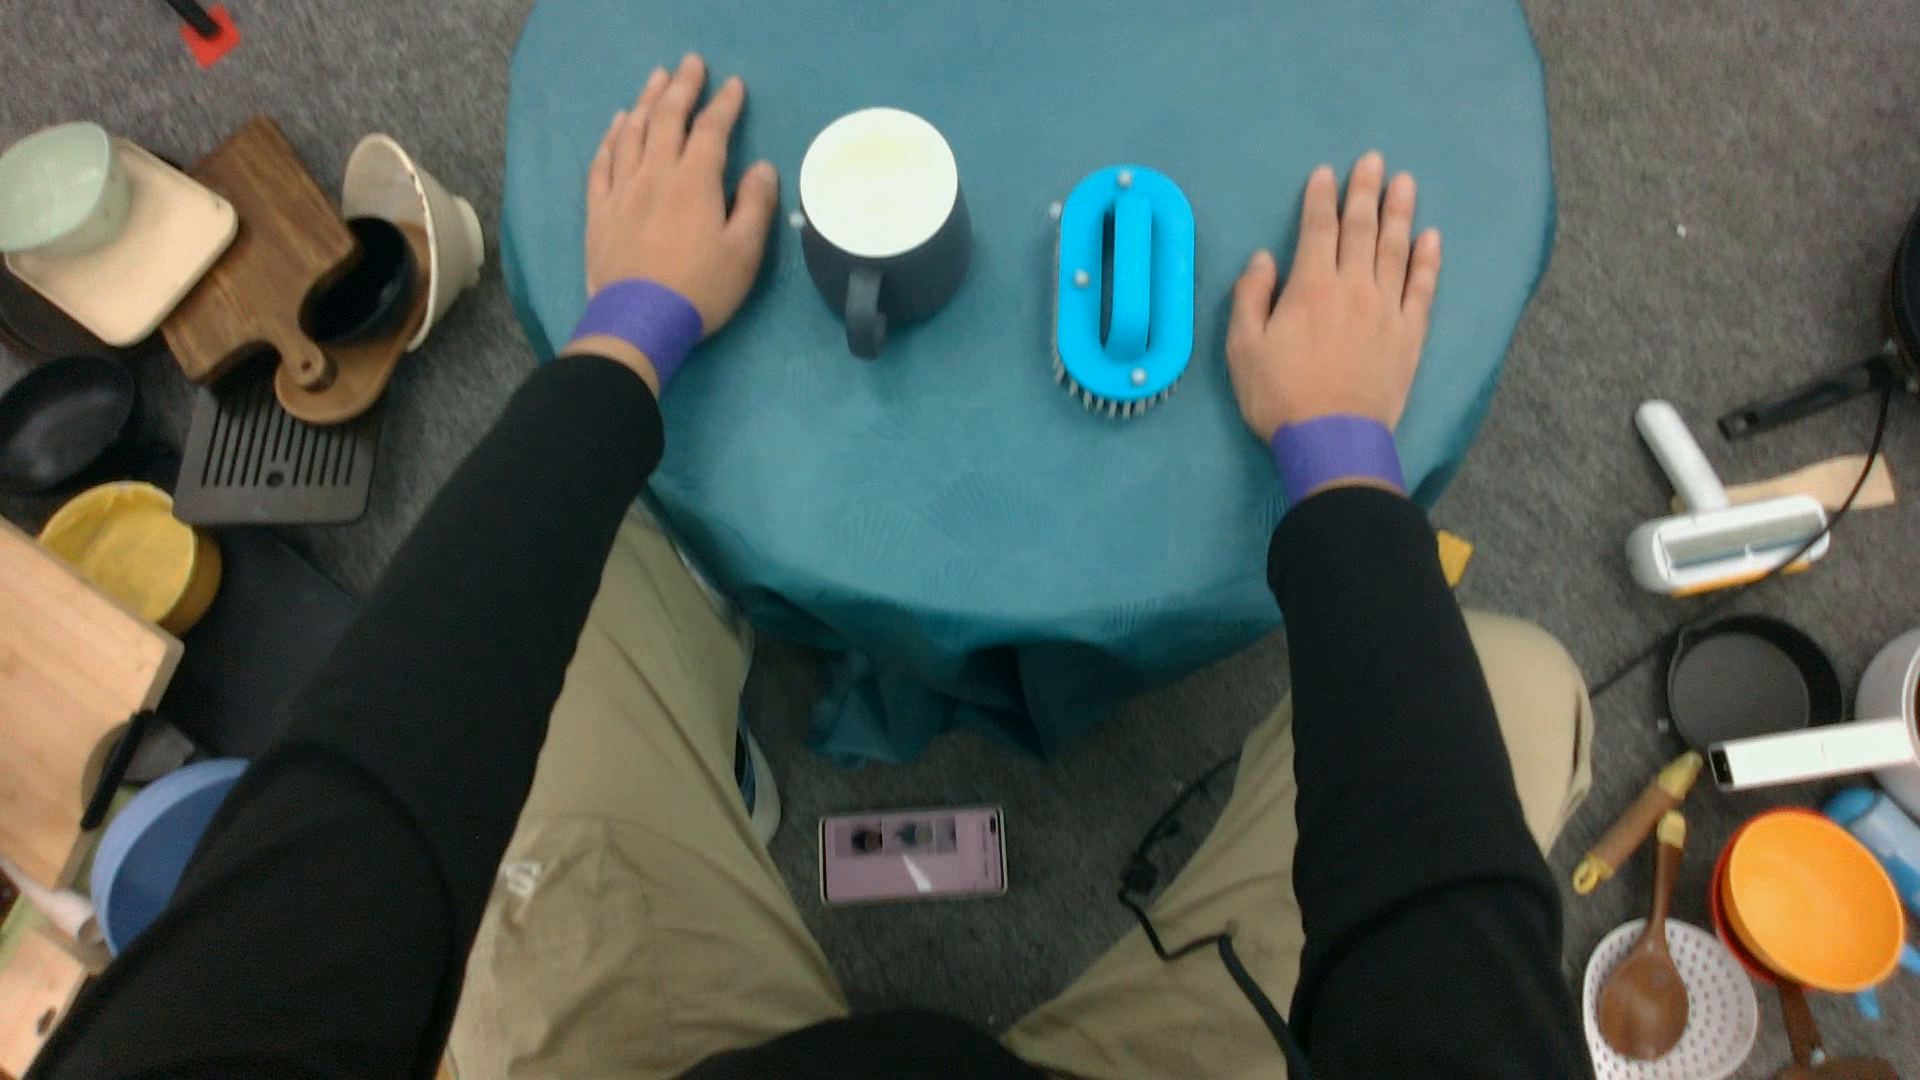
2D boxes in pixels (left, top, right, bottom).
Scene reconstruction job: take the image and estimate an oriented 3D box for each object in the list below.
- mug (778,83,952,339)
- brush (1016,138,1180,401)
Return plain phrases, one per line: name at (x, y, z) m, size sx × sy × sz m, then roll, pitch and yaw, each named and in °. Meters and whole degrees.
mug at (-0.054, -0.166, 0.721) m, size 0.093 × 0.089 × 0.123 m, roll 10°, pitch 76°, yaw 2°
brush at (0.075, -0.149, 0.733) m, size 0.084 × 0.063 × 0.142 m, roll 4°, pitch 78°, yaw -4°
